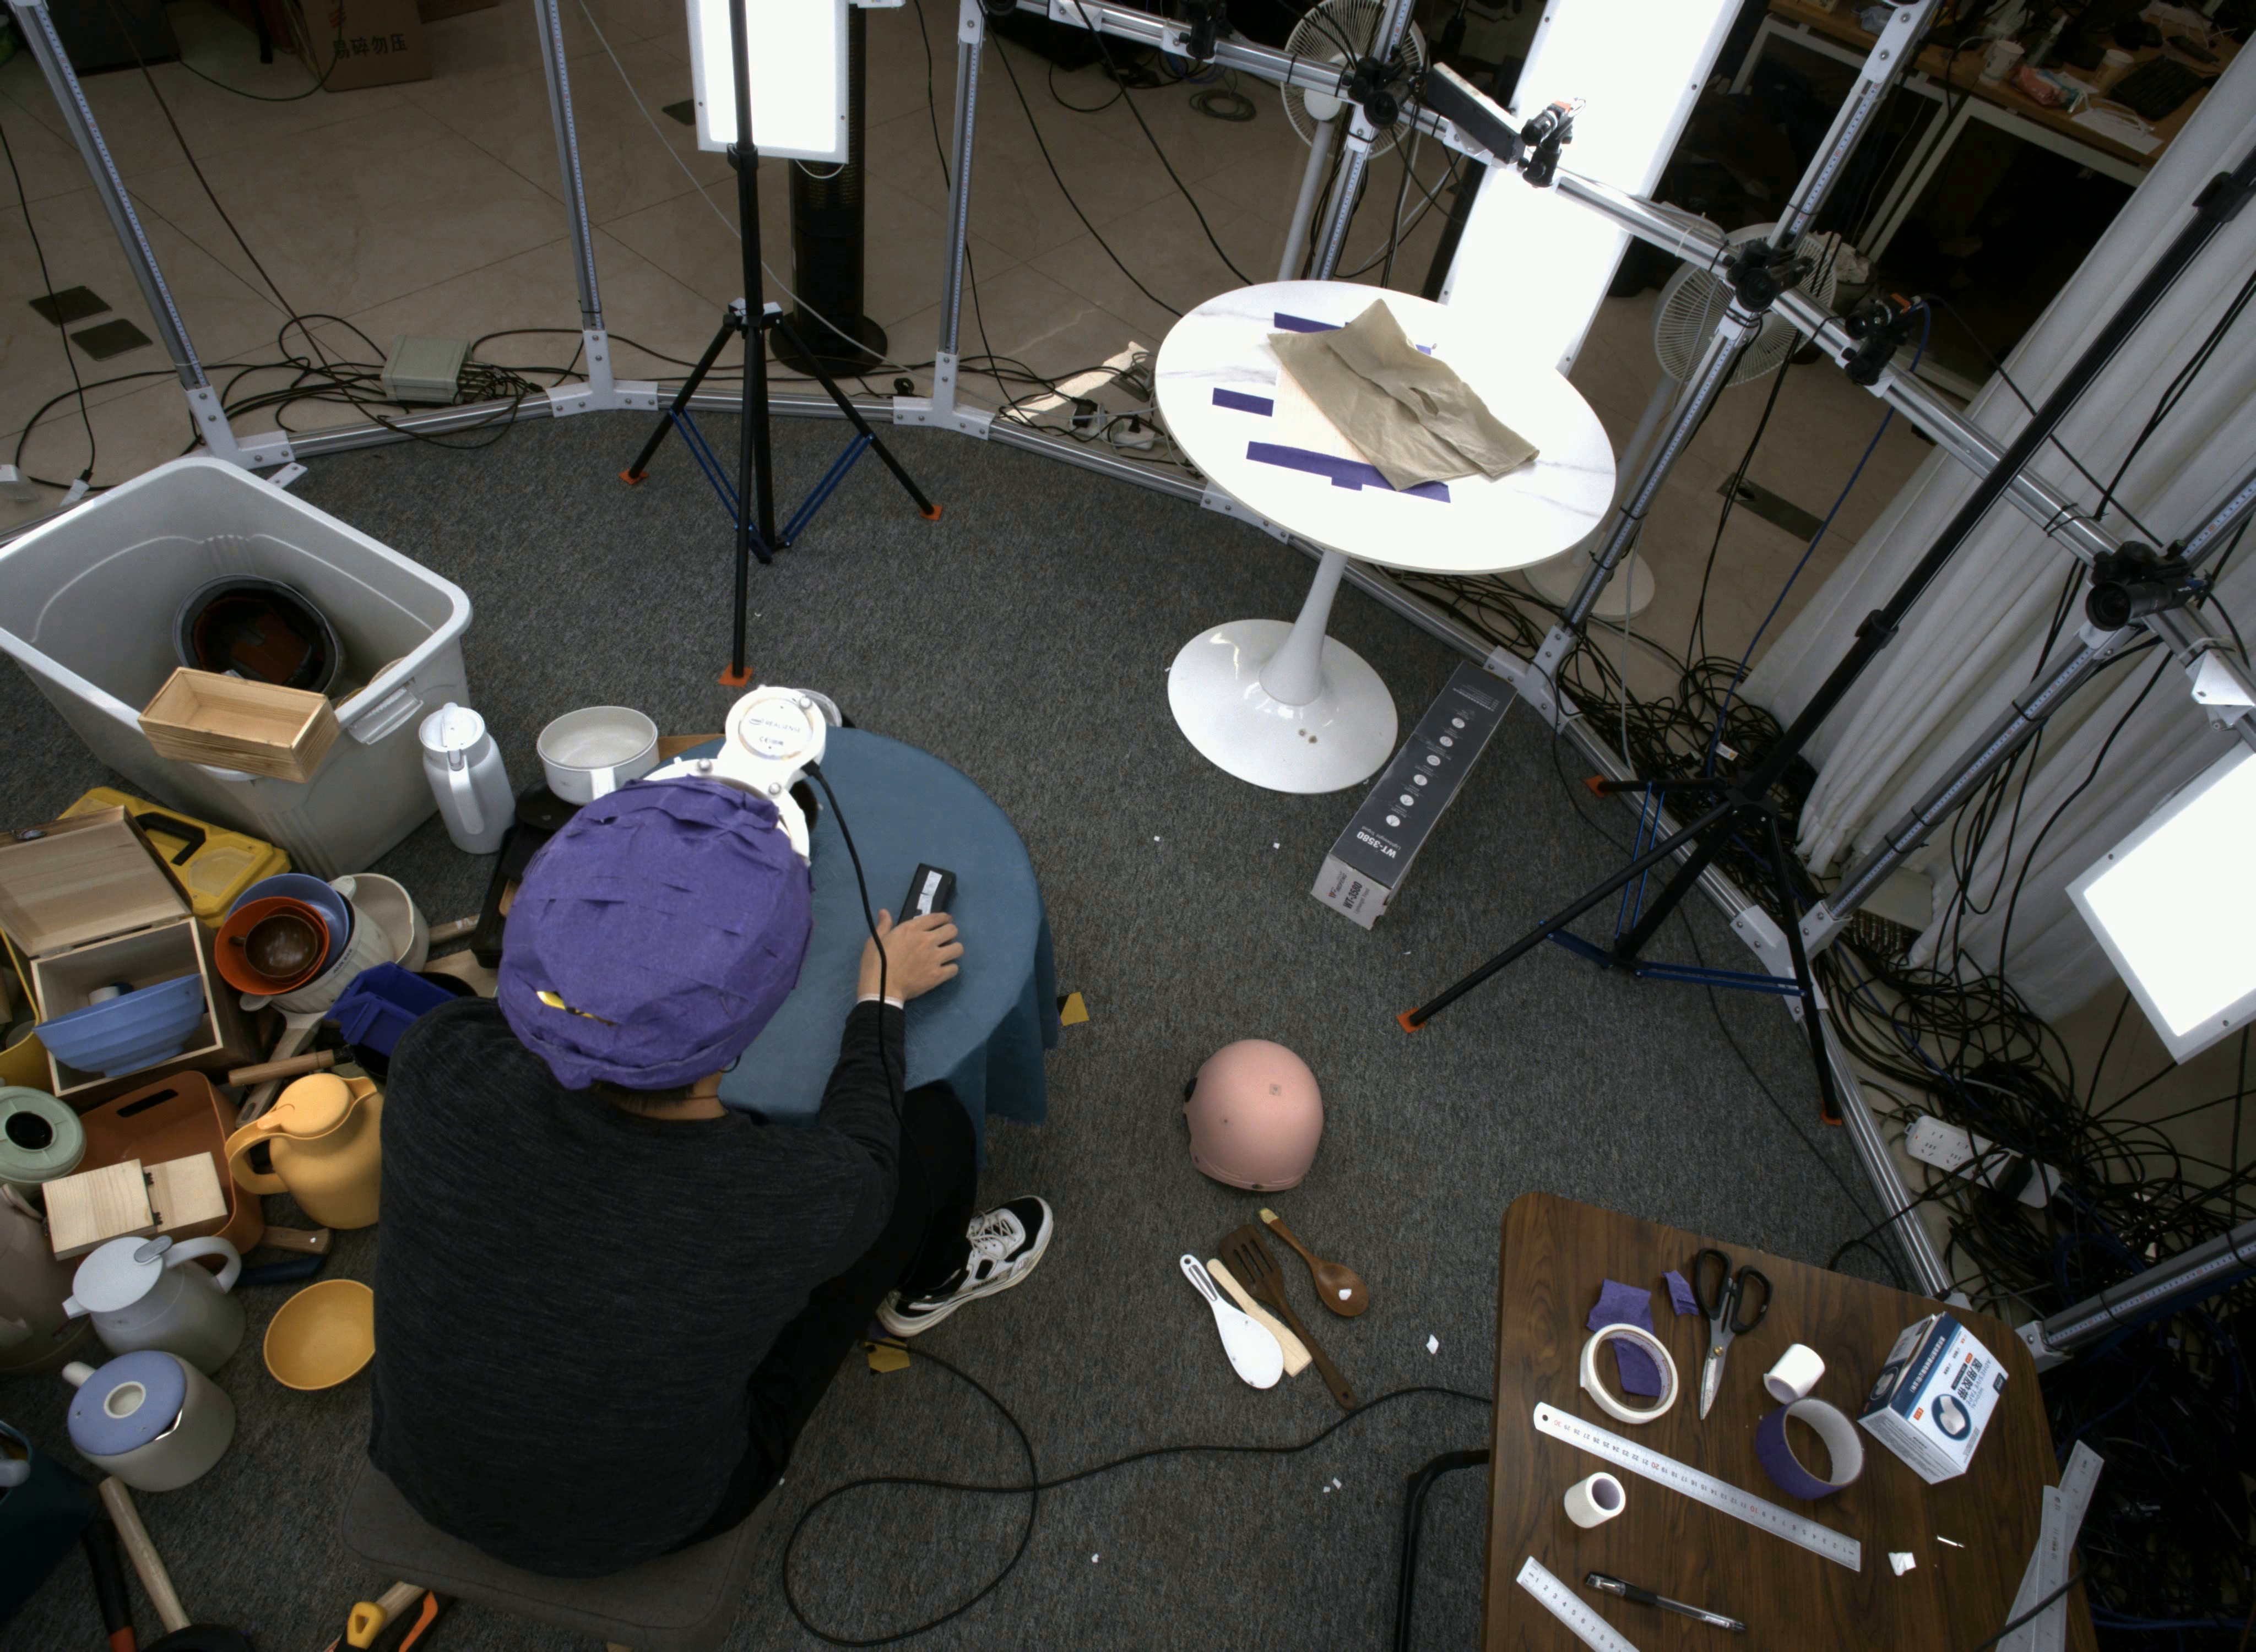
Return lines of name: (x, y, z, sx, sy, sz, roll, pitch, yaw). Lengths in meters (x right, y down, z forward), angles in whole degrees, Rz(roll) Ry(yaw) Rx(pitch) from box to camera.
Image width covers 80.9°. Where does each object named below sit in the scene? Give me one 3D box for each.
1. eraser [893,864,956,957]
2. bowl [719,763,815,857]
eraser: (-0.259, 0.104, 1.666, 0.053, 0.031, 0.124, 12, 52, -1)
bowl: (-0.468, -0.015, 1.664, 0.120, 0.069, 0.117, 15, 61, -26)
